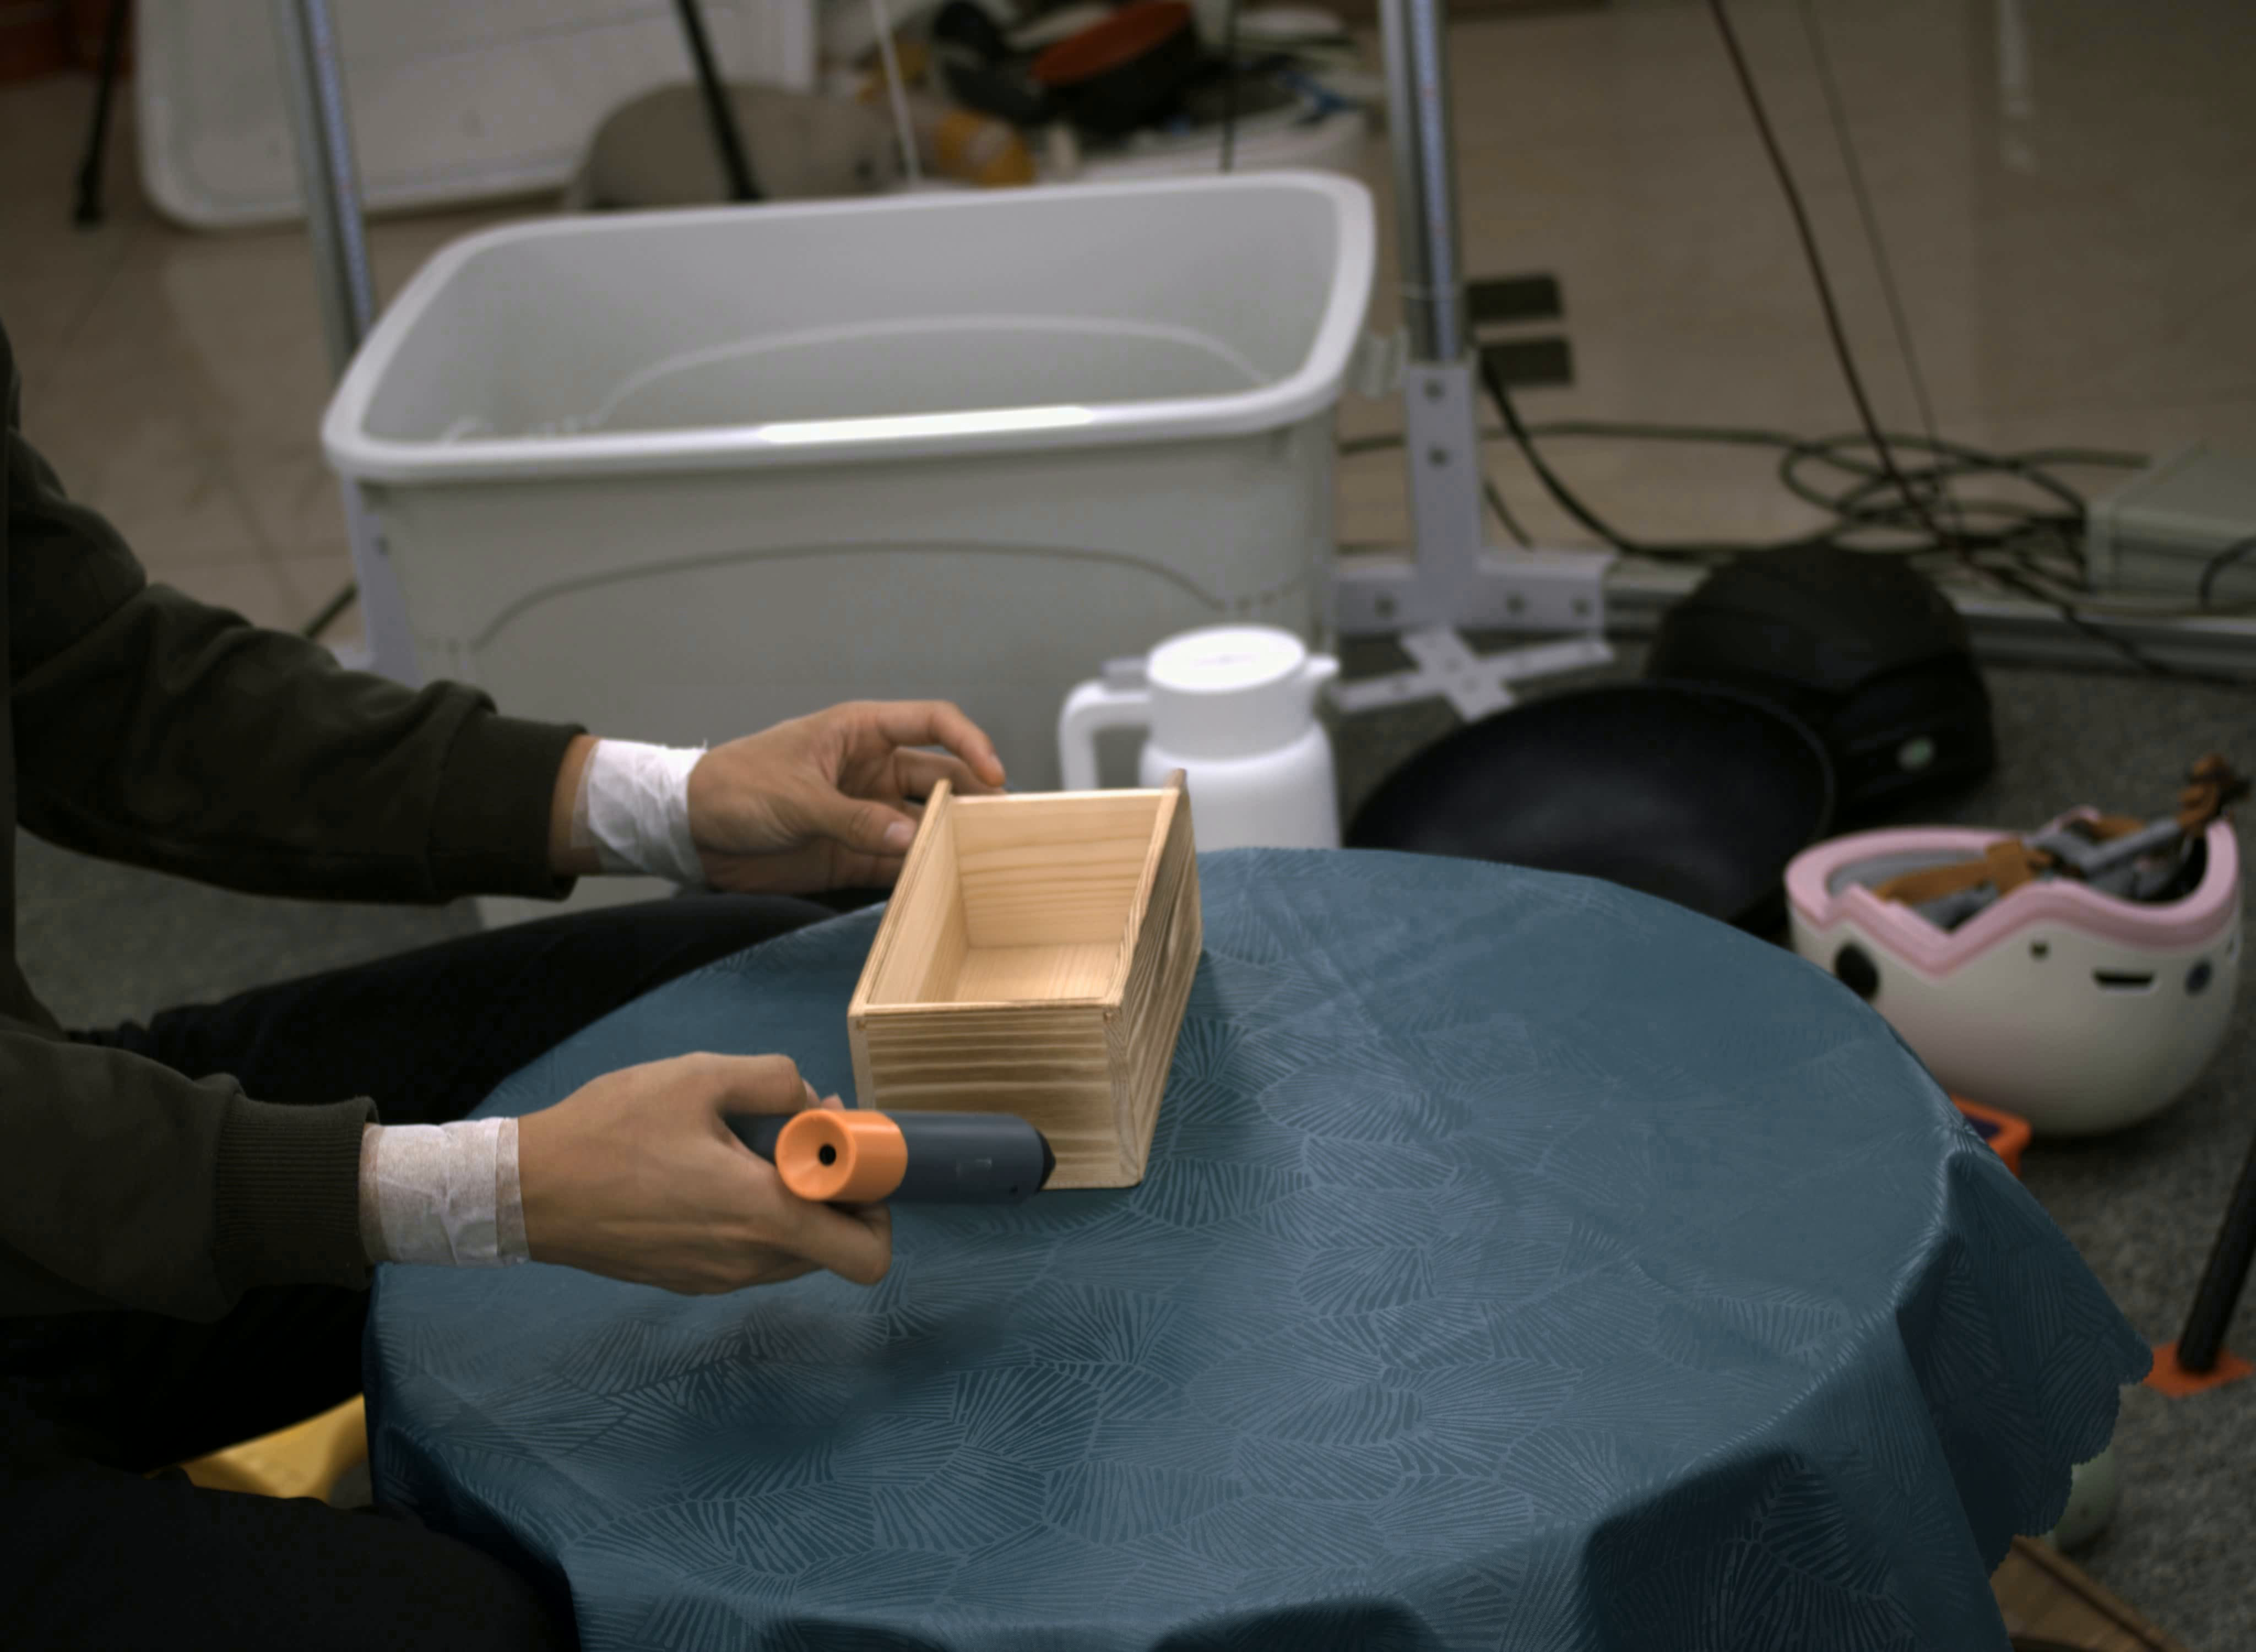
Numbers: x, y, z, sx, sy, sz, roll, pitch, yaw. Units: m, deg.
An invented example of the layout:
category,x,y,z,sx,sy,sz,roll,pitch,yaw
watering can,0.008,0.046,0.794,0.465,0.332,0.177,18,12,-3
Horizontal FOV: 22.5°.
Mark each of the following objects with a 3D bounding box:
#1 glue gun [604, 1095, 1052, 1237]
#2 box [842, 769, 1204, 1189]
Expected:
category,x,y,z,sx,sy,sz,roll,pitch,yaw
glue gun,-0.108,0.124,2.049,0.139,0.041,0.119,1,-12,26
box,-0.038,0.059,2.234,0.107,0.081,0.208,-3,25,9
